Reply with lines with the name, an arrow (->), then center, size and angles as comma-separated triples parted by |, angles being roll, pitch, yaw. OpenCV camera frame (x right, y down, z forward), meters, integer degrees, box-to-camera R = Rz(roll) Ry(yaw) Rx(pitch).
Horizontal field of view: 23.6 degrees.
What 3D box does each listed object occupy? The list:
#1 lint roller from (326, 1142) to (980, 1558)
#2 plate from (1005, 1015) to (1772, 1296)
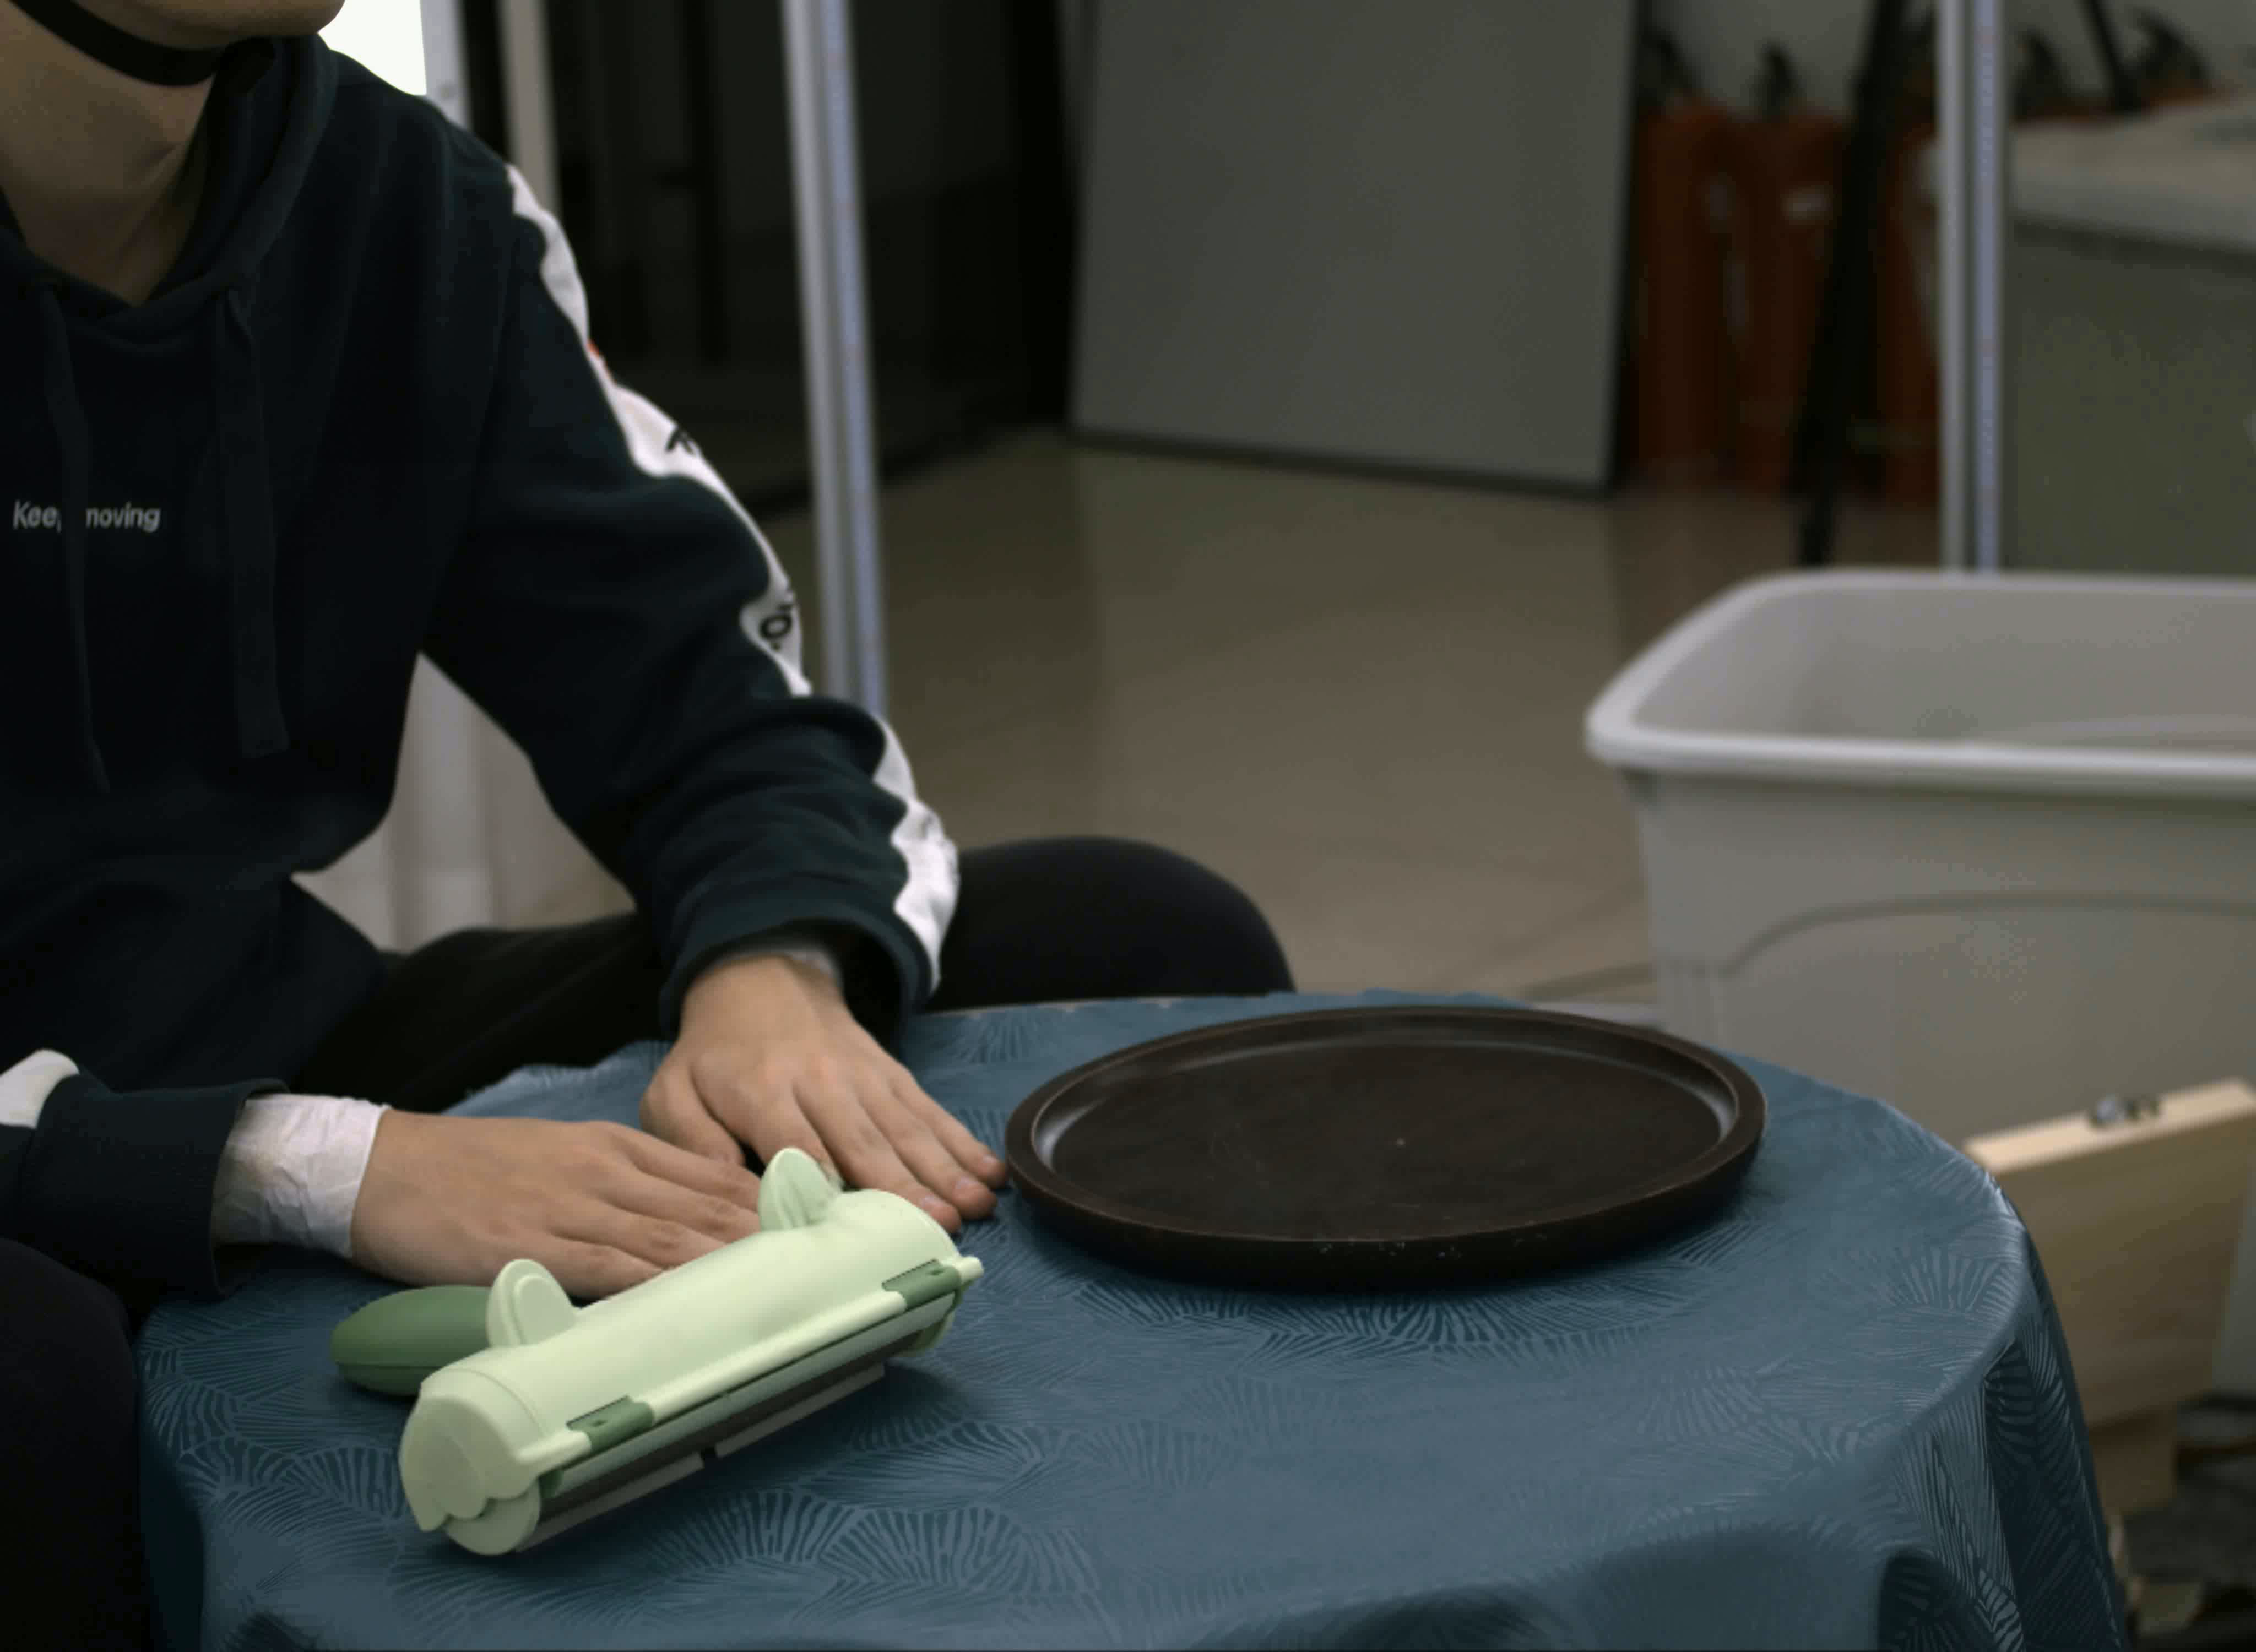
lint roller -> -0.169, 0.139, 1.581 | 0.184, 0.083, 0.195 | 11, 20, 37
plate -> 0.085, 0.105, 1.763 | 0.251, 0.029, 0.255 | -5, 15, 0
